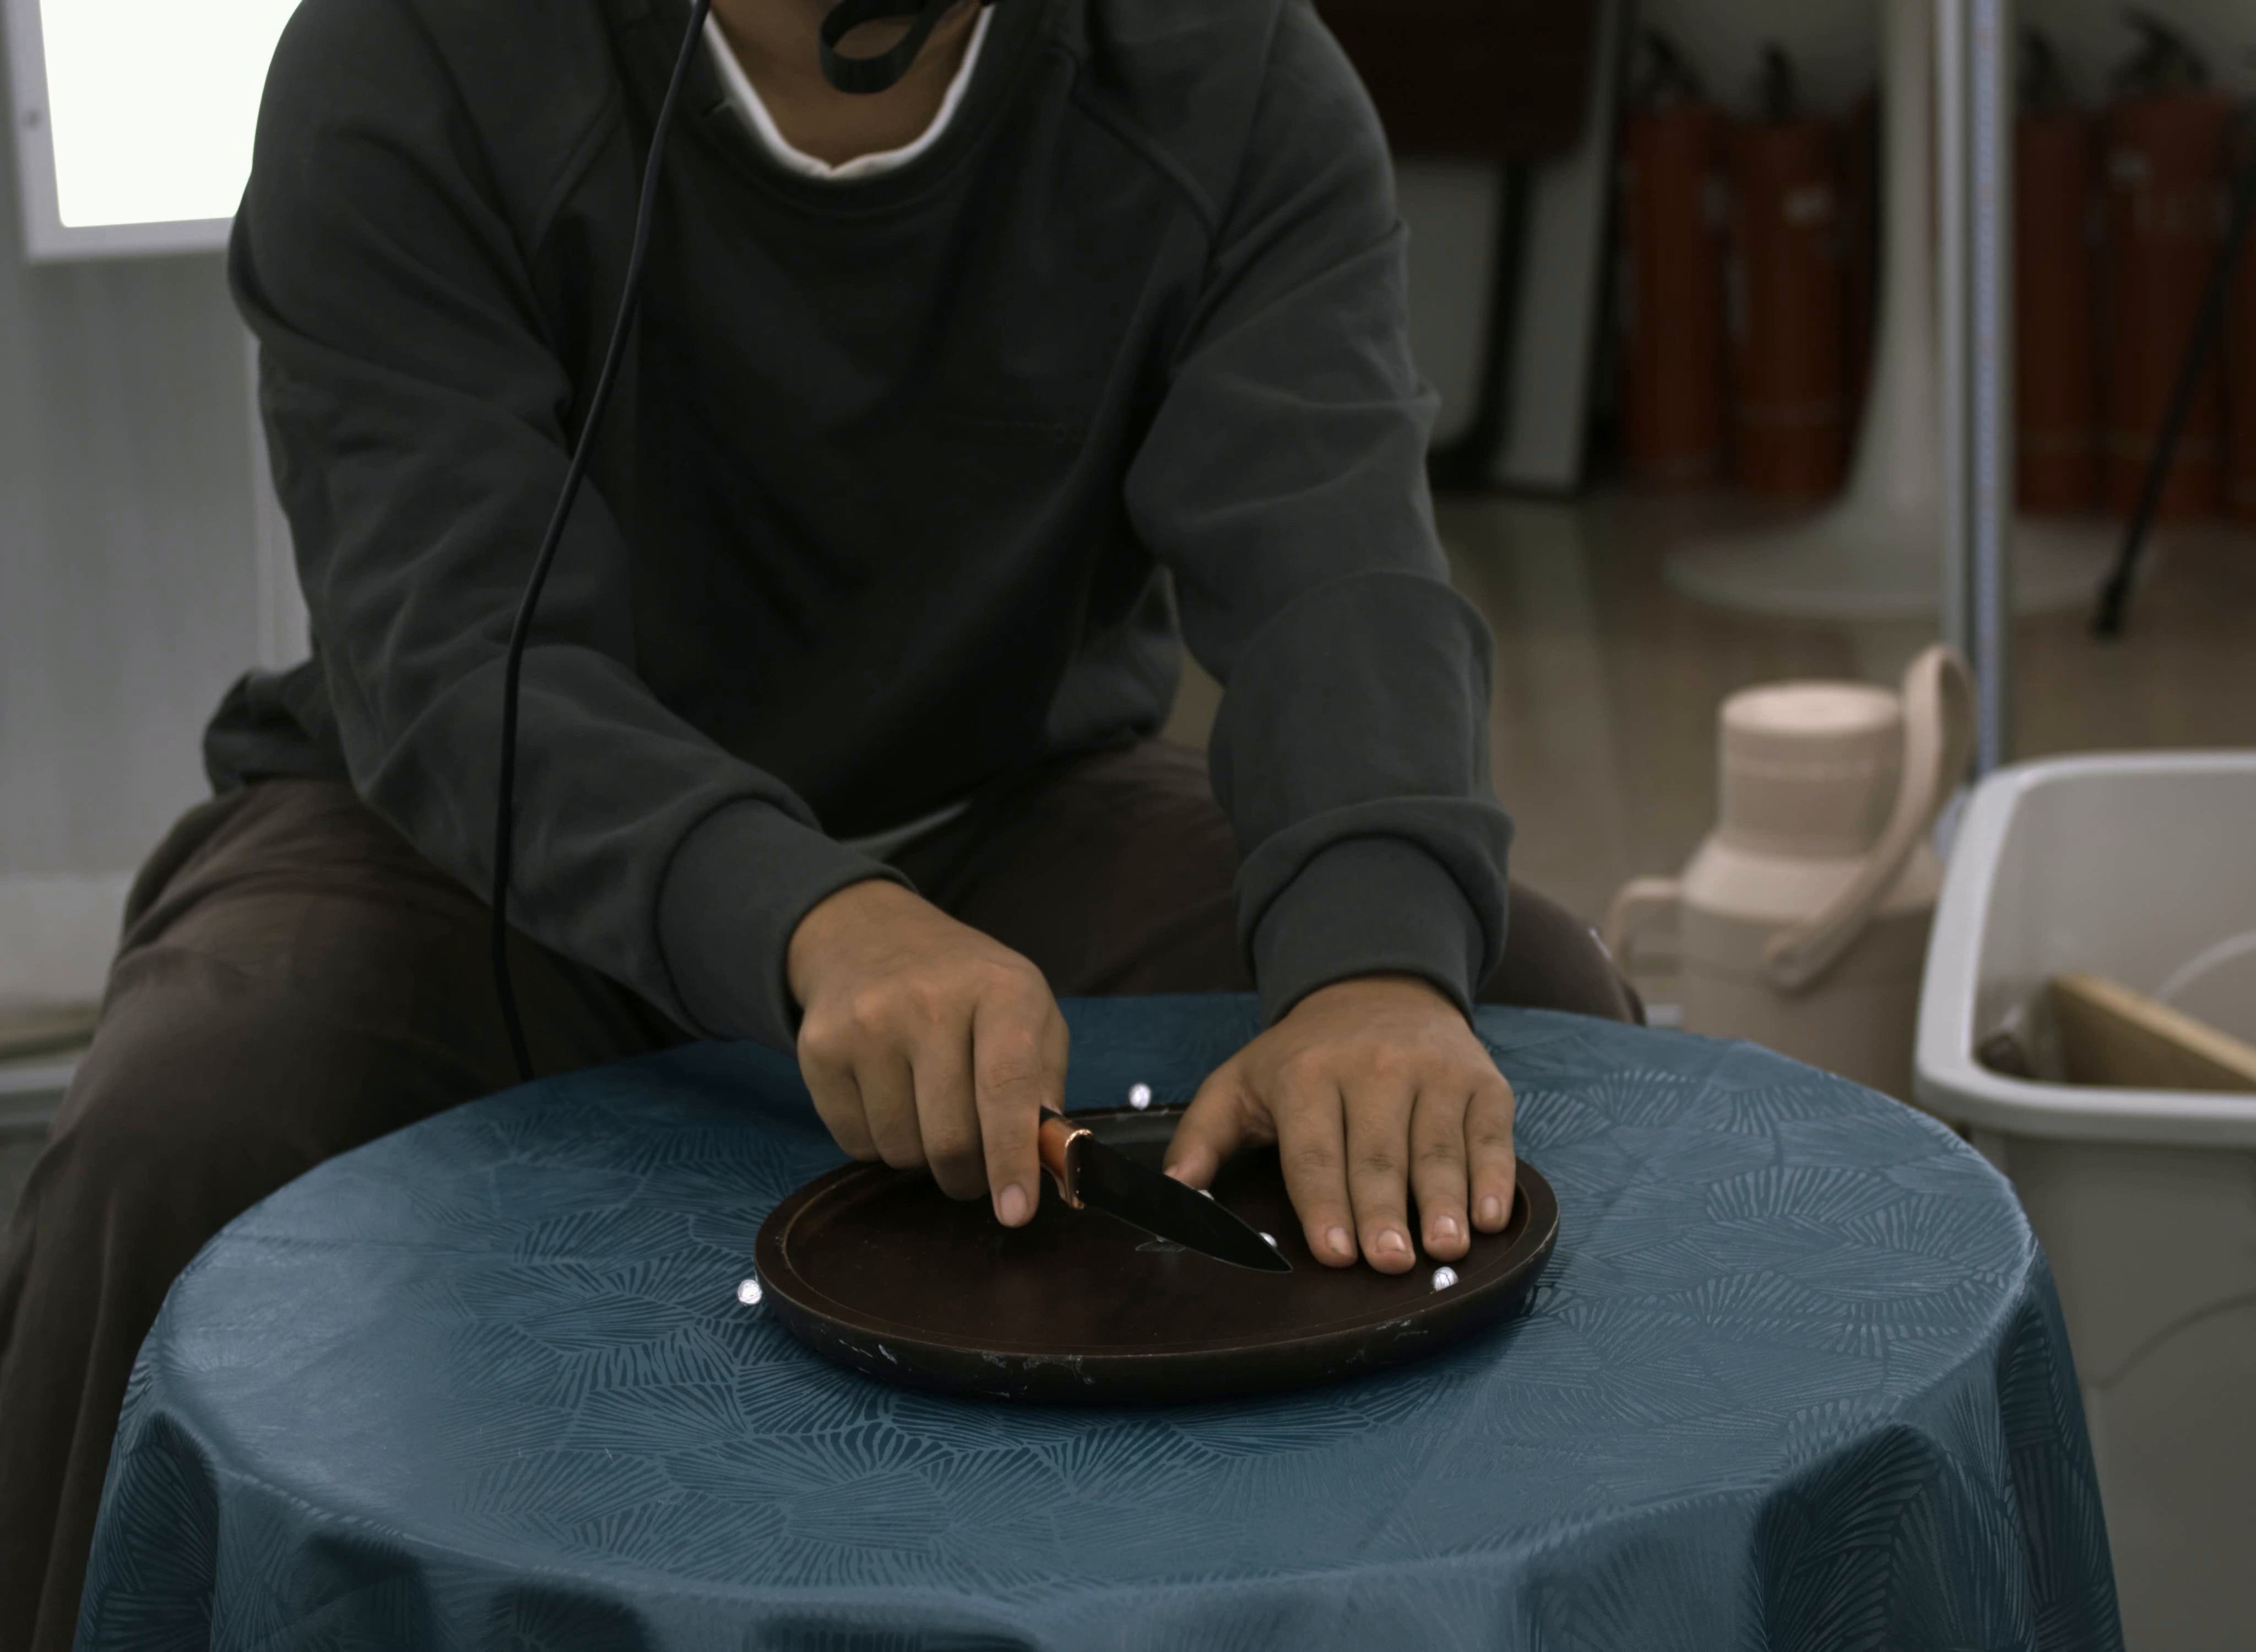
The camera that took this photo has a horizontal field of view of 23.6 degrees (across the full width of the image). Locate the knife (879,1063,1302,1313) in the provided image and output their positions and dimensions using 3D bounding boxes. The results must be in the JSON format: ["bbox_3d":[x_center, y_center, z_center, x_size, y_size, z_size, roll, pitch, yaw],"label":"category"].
[{"bbox_3d":[-0.013,0.110,1.680,0.017,0.026,0.228,-3,15,-35],"label":"knife"}]

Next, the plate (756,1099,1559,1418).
[{"bbox_3d":[0.010,0.132,1.678,0.251,0.029,0.255,-5,13,0],"label":"plate"}]
